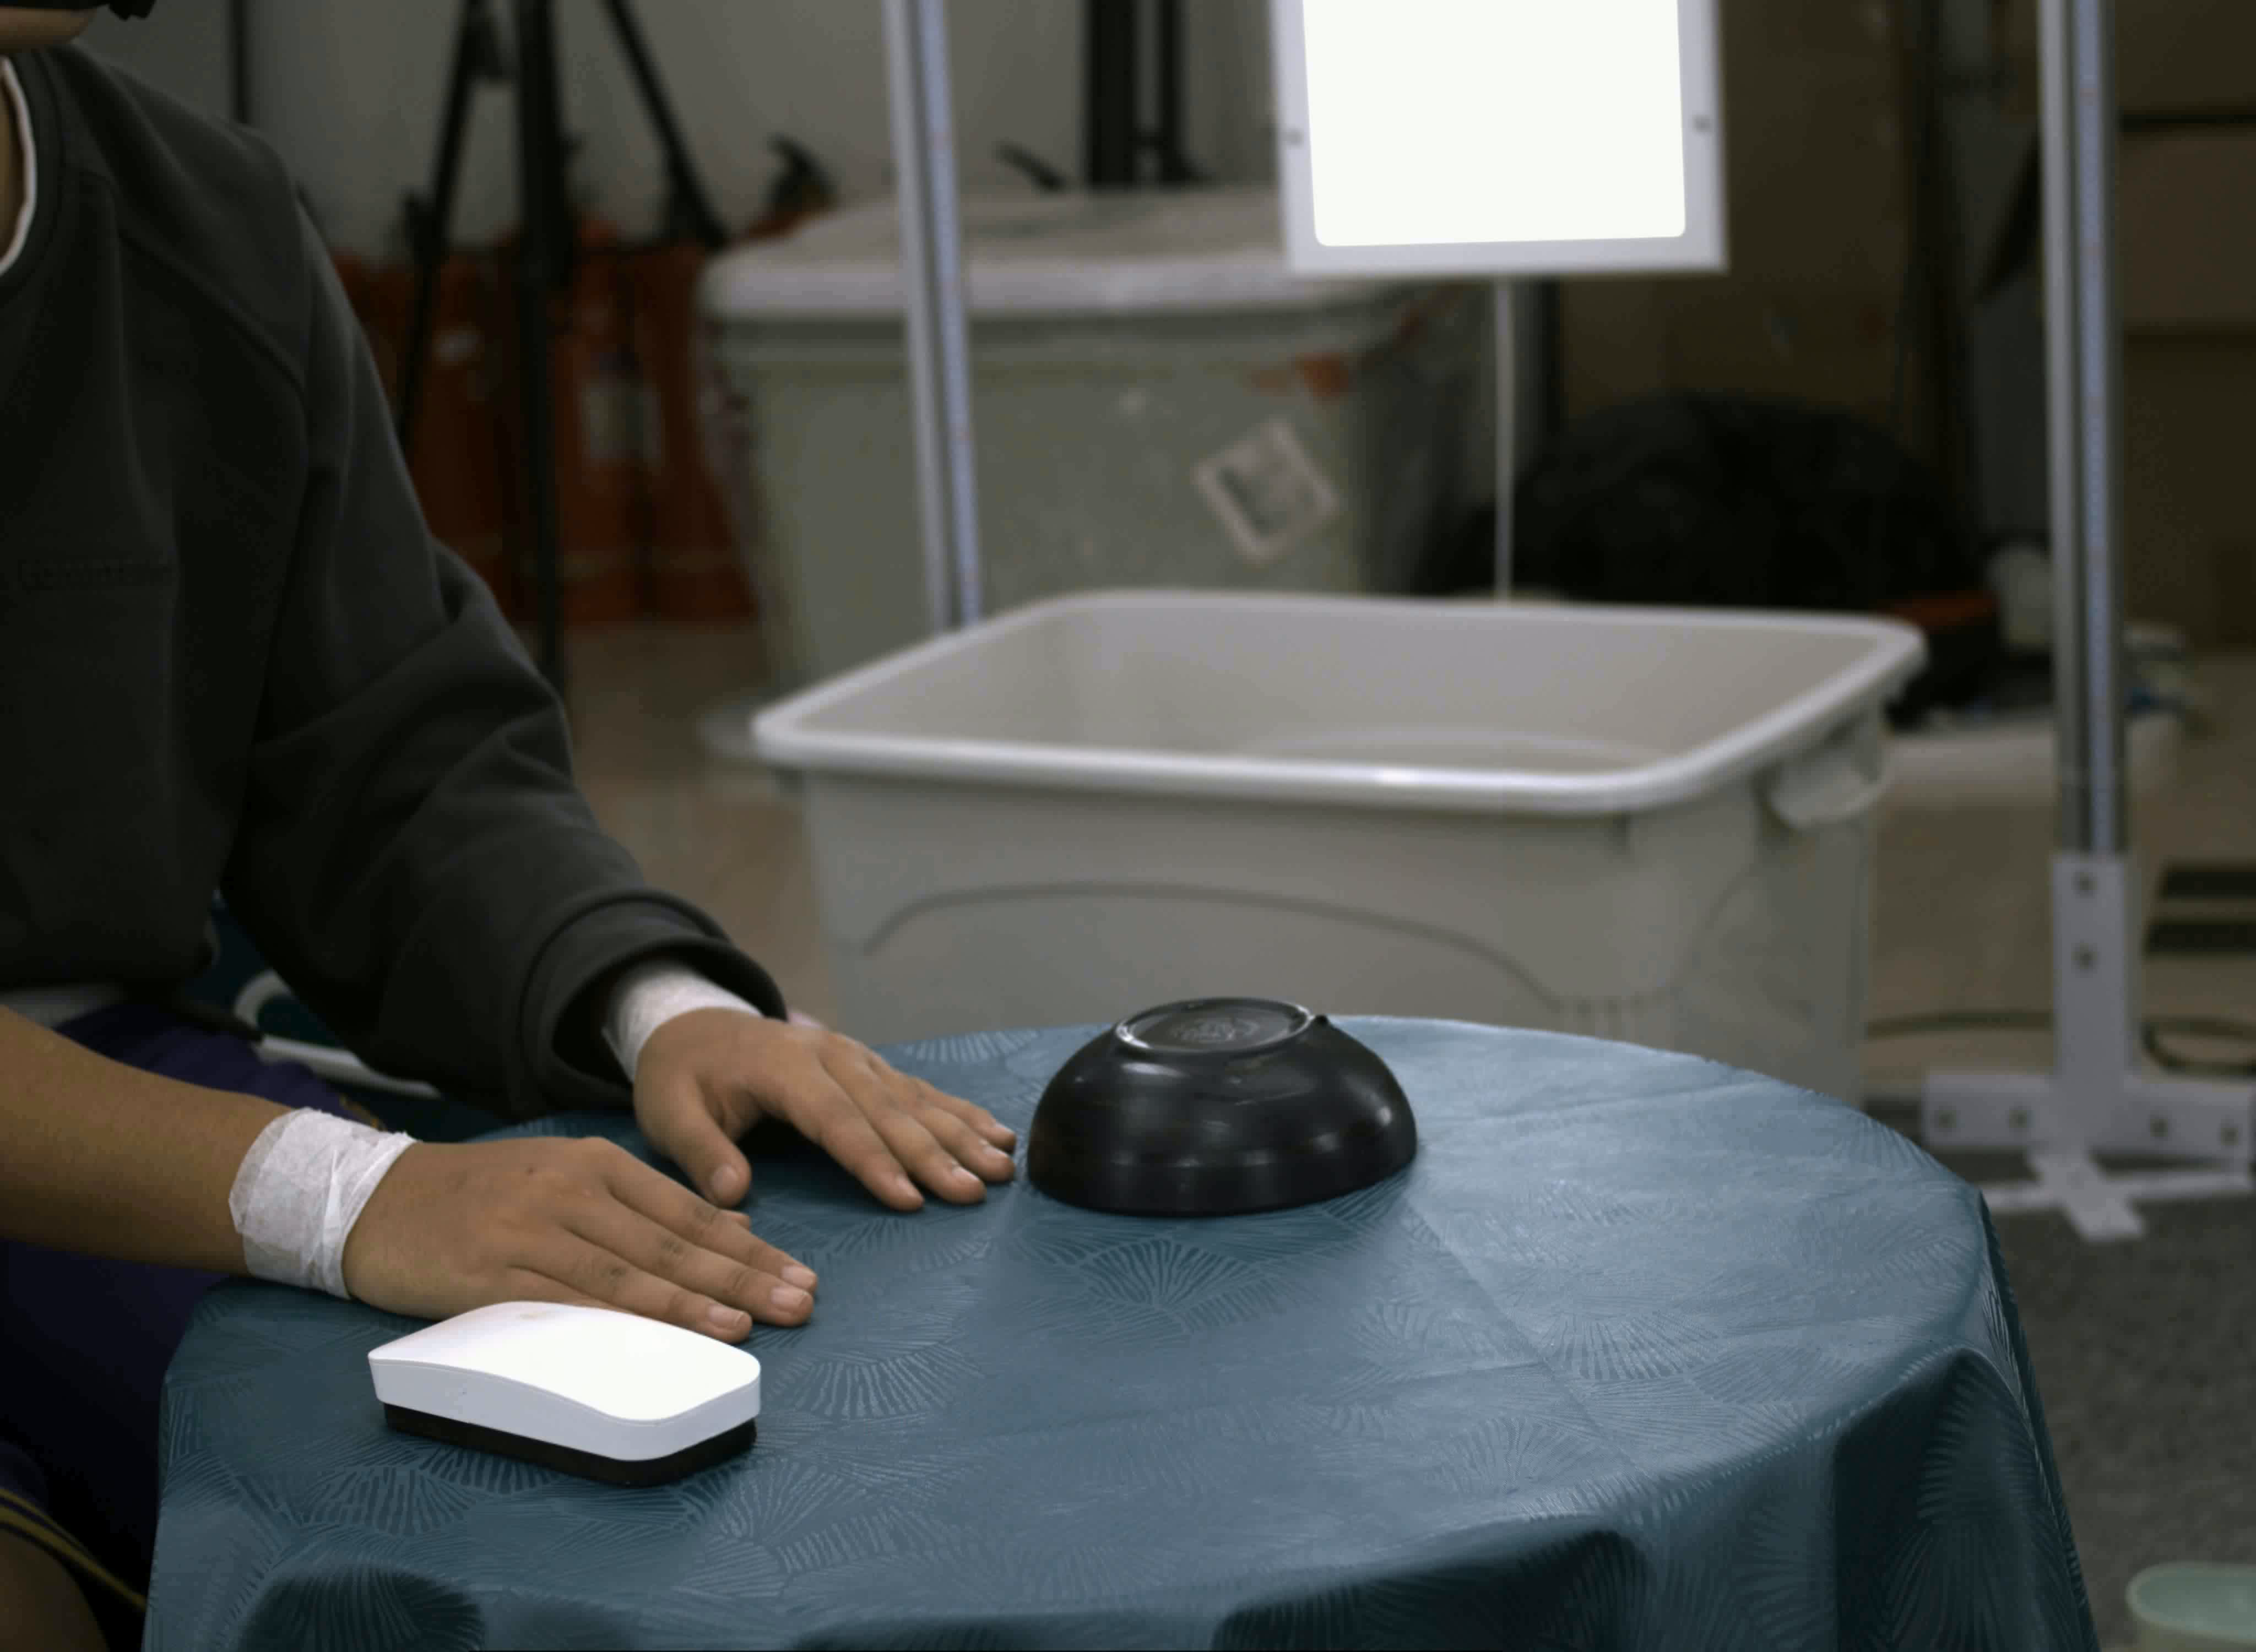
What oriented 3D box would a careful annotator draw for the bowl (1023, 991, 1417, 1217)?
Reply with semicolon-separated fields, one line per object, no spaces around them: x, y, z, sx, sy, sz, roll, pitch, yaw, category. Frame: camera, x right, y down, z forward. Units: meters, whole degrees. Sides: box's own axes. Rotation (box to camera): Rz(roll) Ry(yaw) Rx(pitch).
0.031;0.091;1.921;0.139;0.050;0.140;-5;15;0;bowl

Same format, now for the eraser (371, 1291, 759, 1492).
-0.173;0.172;1.708;0.134;0.034;0.062;10;19;43;eraser
